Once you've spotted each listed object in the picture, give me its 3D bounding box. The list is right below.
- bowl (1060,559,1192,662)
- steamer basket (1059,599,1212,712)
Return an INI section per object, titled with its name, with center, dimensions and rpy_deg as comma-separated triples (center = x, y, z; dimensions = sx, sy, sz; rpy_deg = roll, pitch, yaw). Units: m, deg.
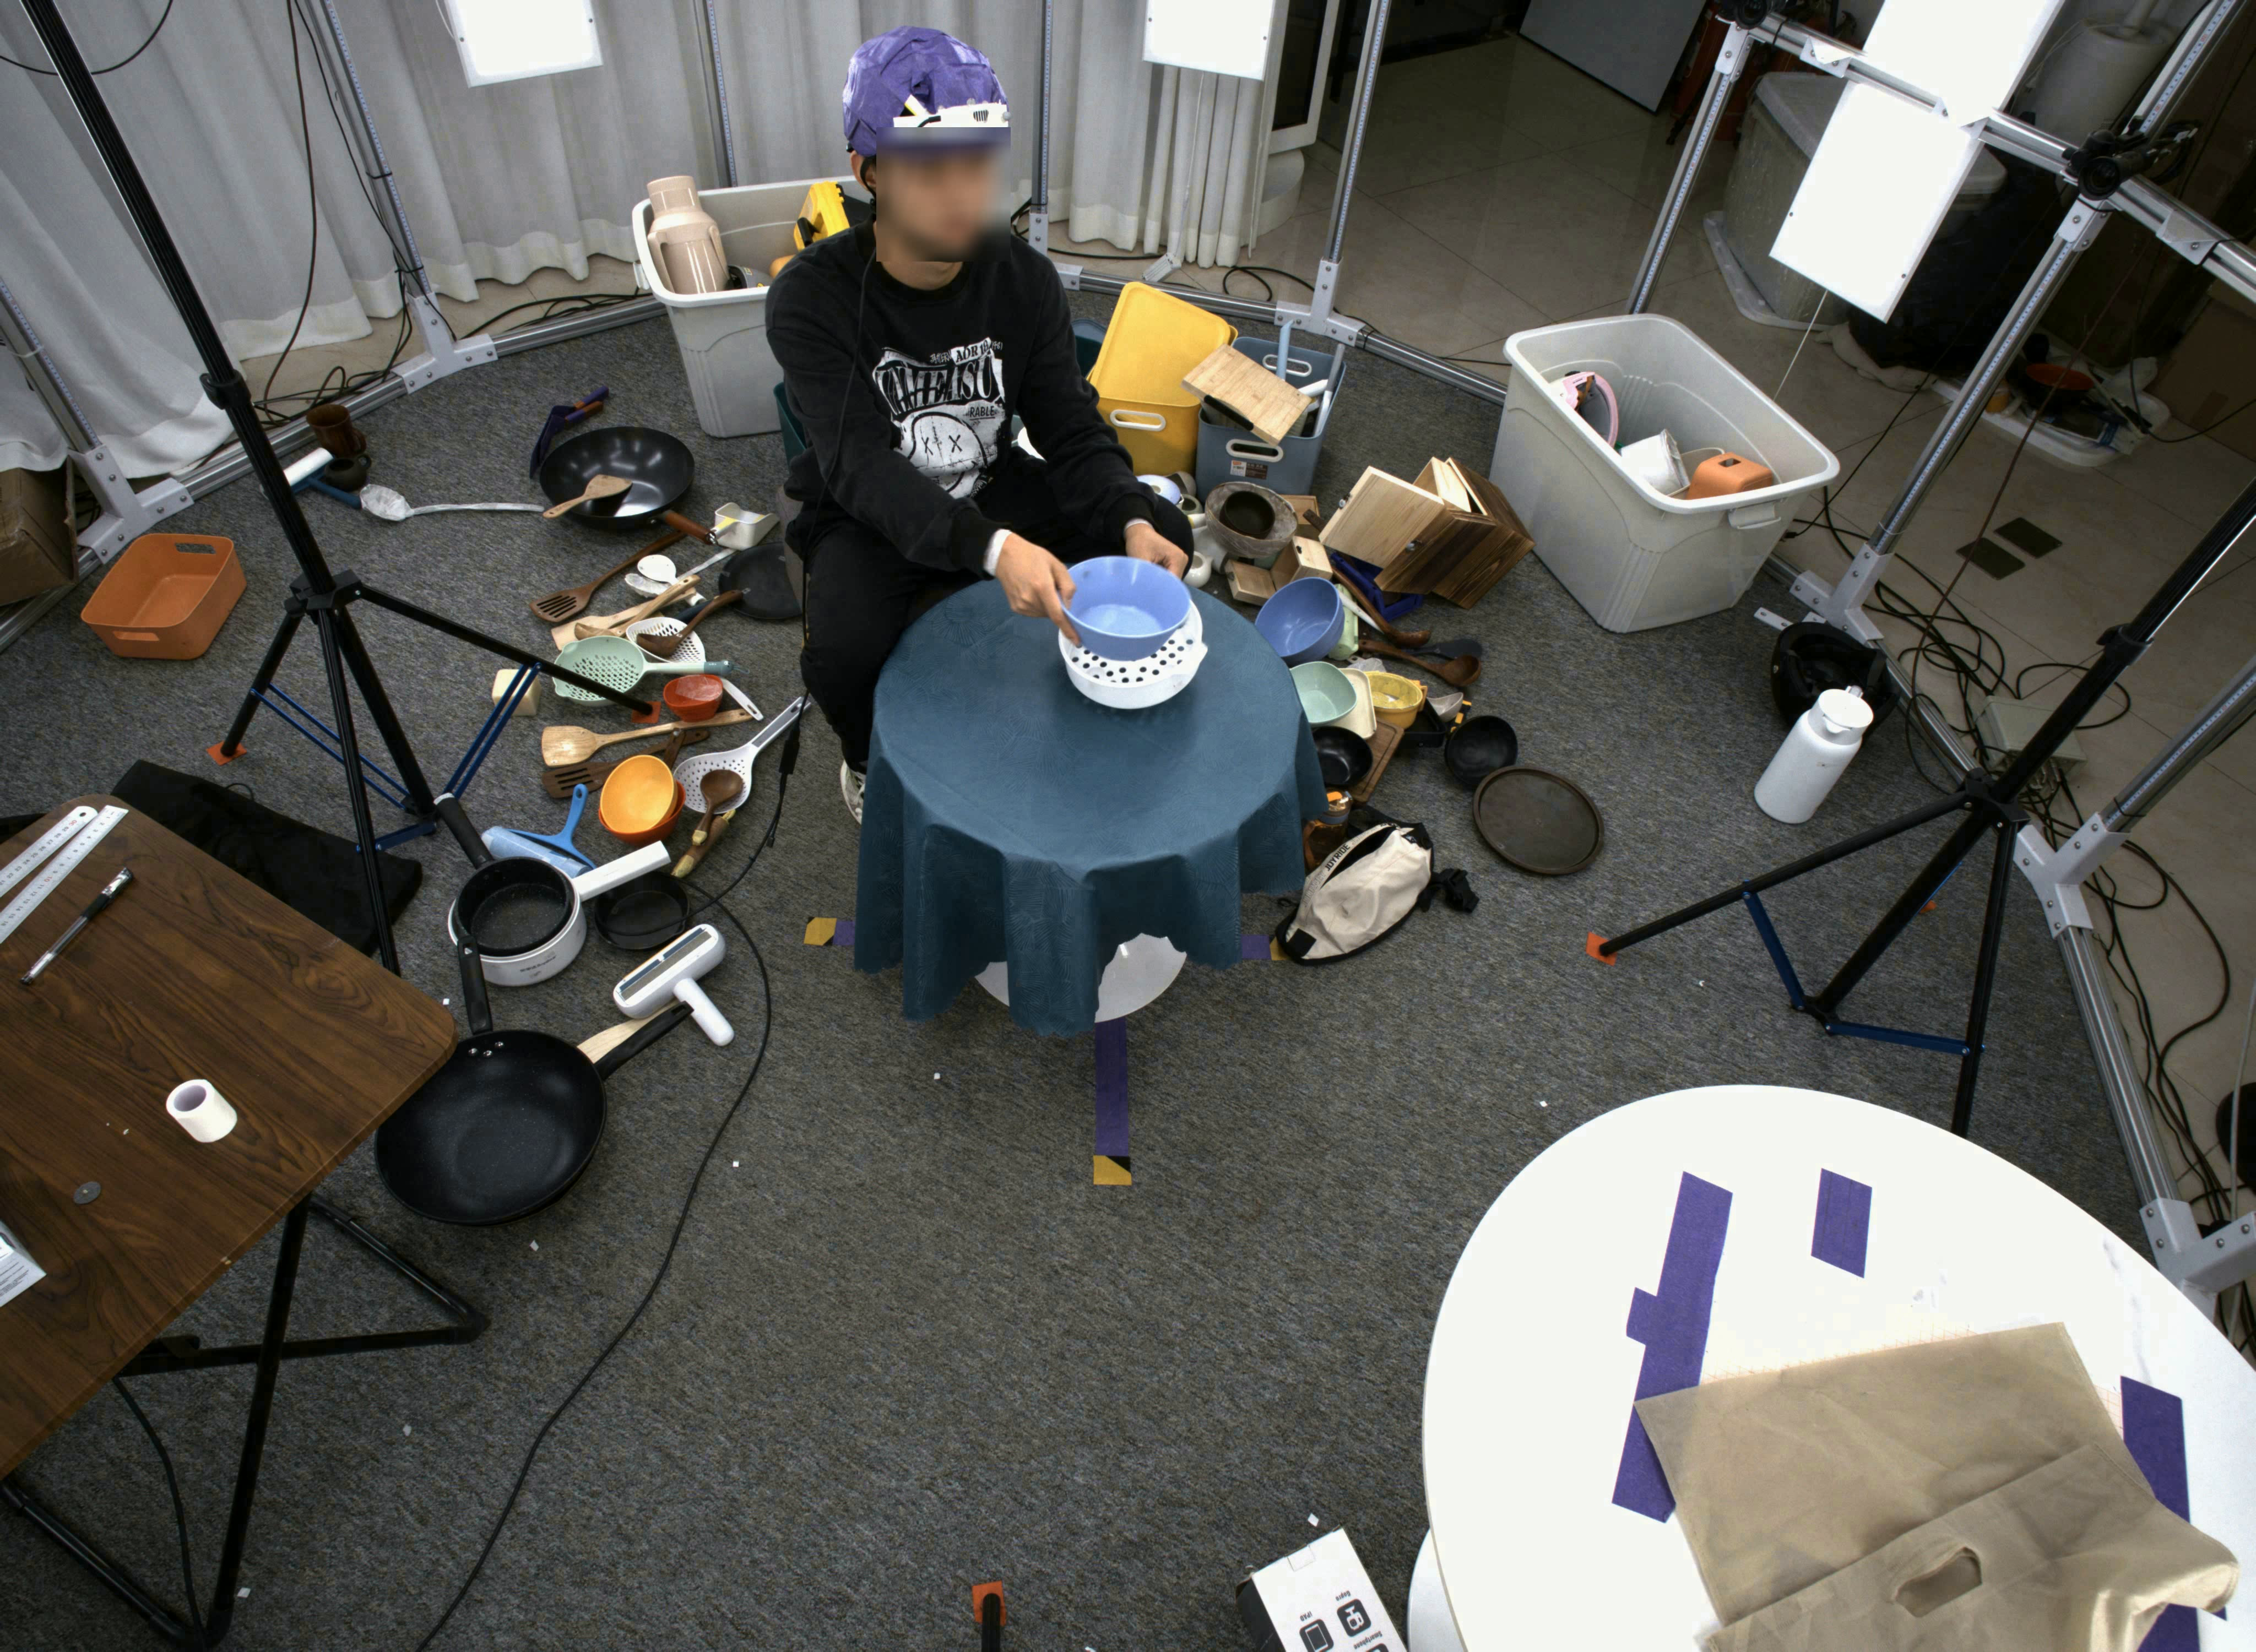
[bowl]
center = -0.005, -0.279, 1.713
dimensions = 0.176, 0.068, 0.180
rpy_deg = 4, 44, -4
[steamer basket]
center = 0.011, -0.255, 1.833
dimensions = 0.233, 0.067, 0.205
rpy_deg = 26, 62, 20
